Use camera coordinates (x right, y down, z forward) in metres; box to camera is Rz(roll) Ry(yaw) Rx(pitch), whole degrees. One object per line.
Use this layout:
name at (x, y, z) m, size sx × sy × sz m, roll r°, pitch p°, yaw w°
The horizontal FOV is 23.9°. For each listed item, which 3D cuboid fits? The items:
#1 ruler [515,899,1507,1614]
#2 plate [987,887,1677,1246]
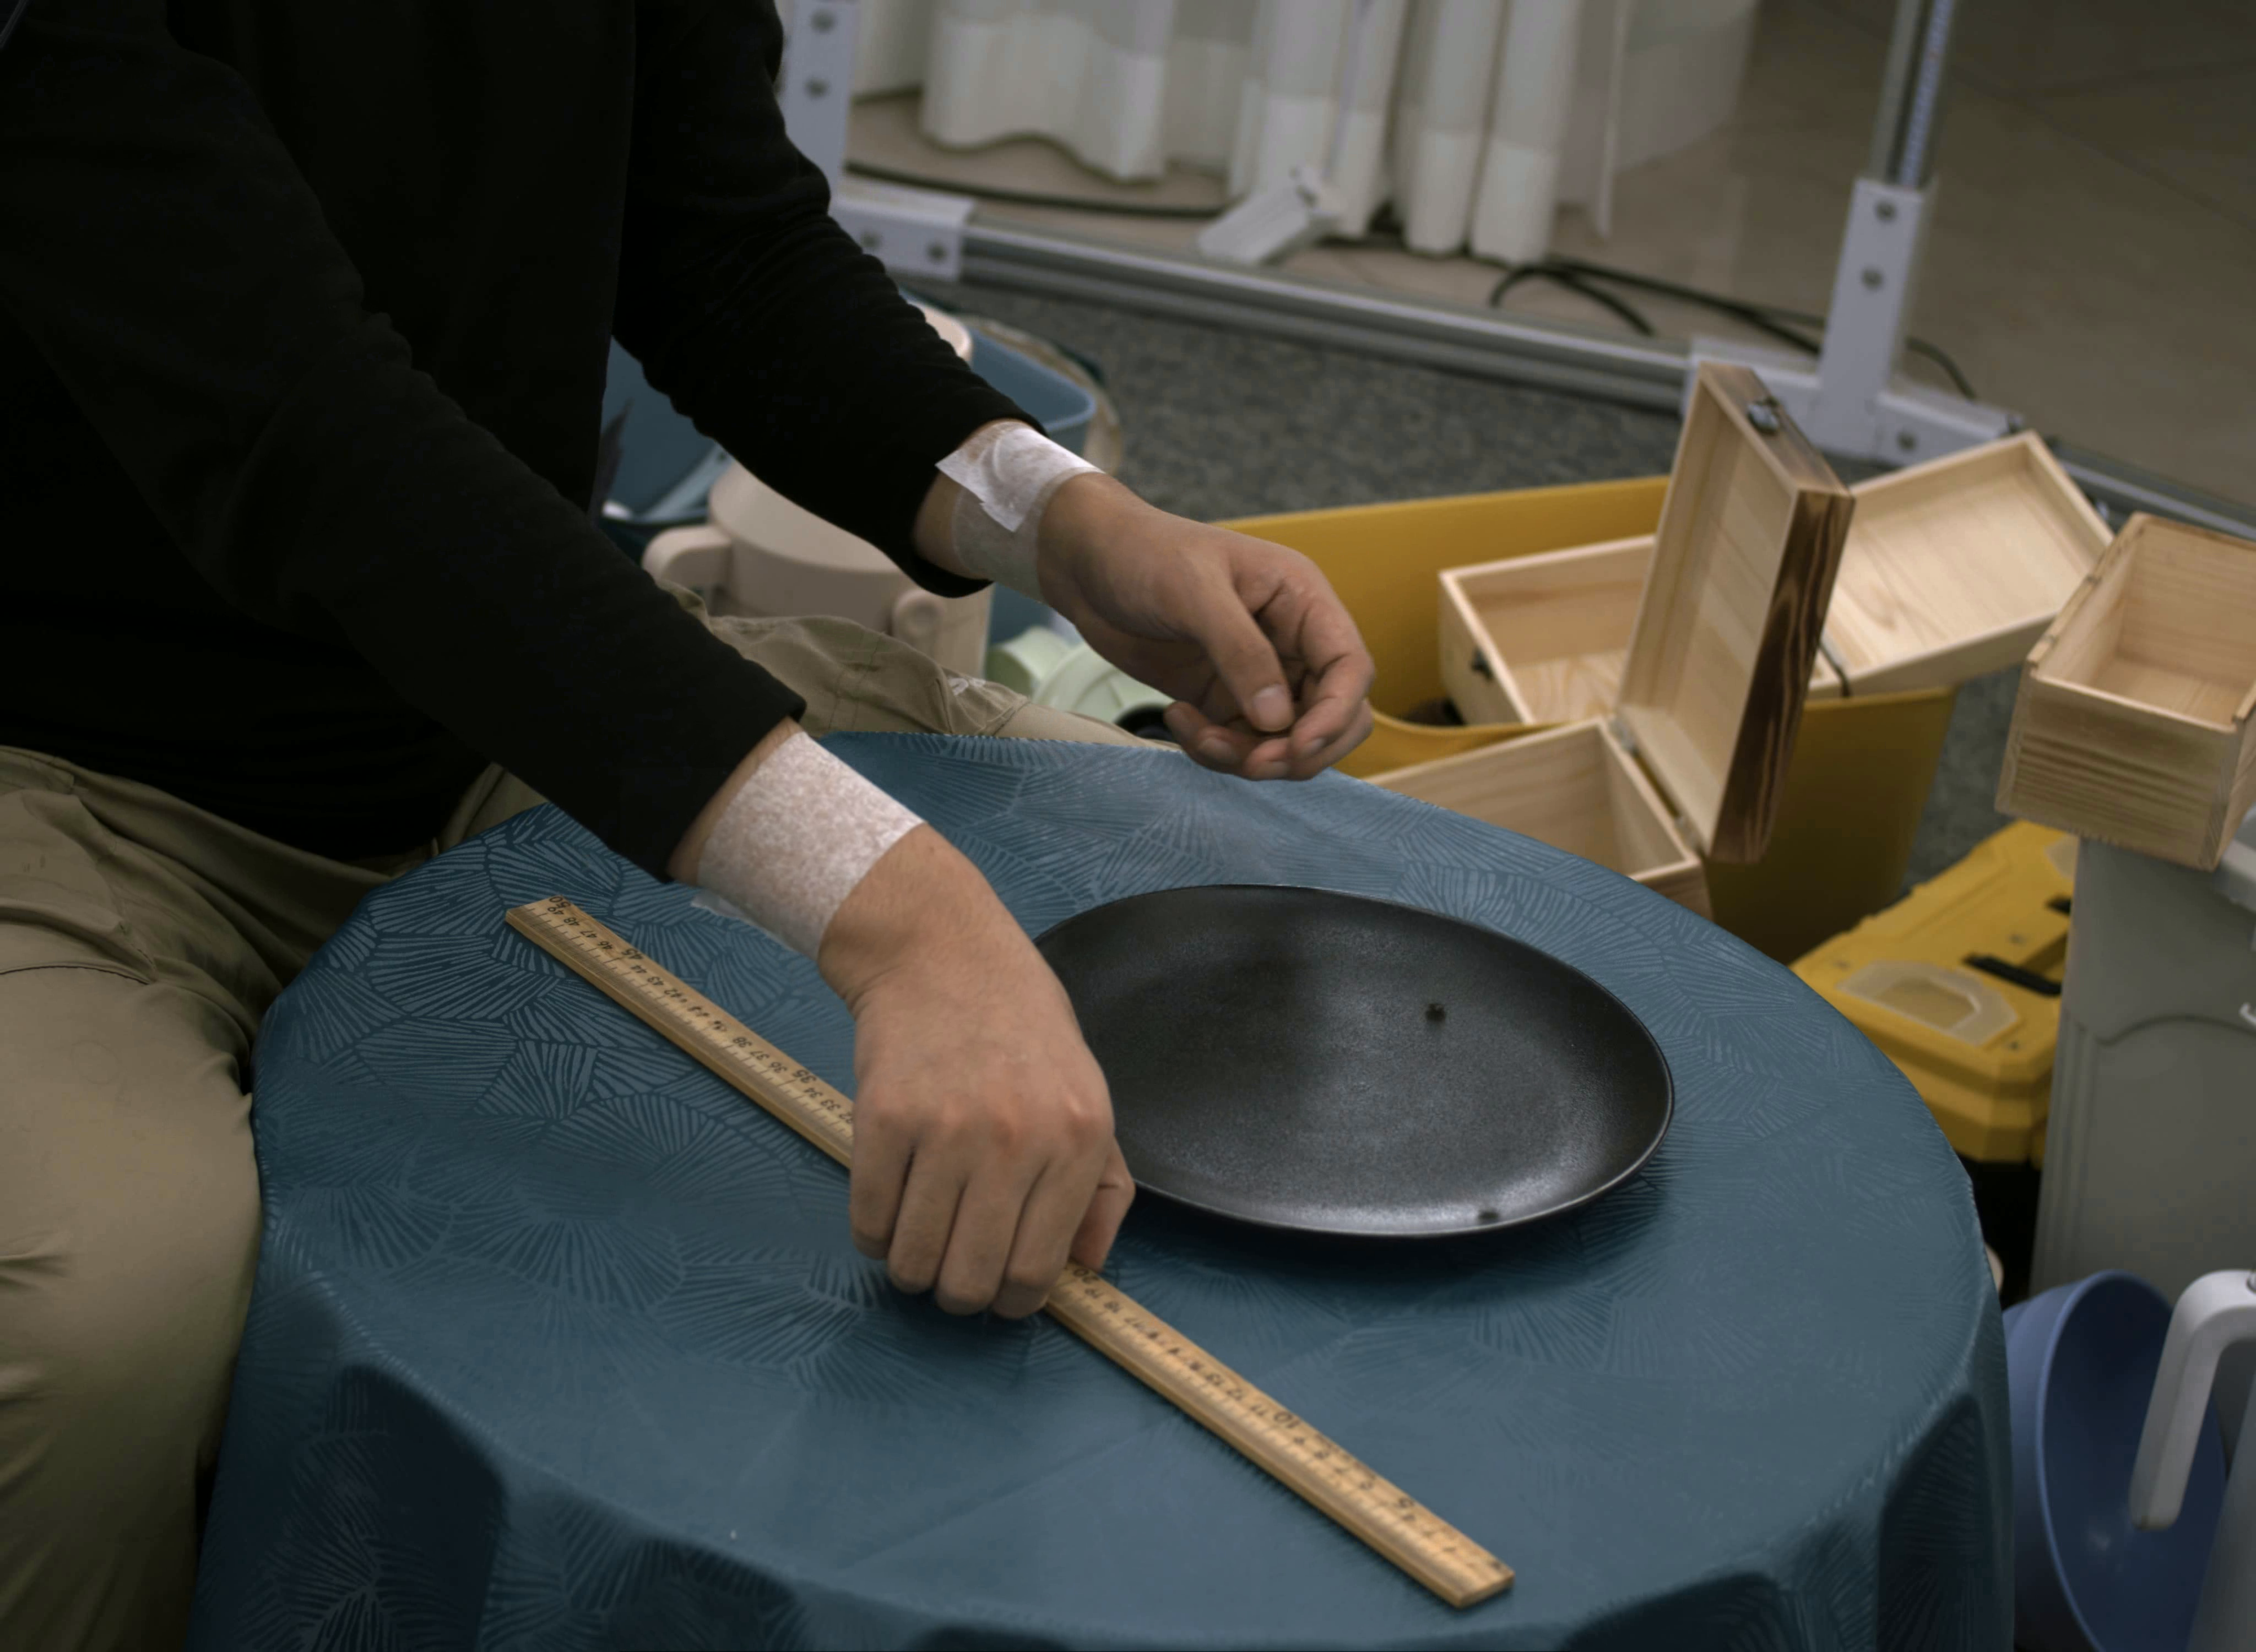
ruler at (-0.053, 0.131, 1.768) m, size 0.026 × 0.006 × 0.504 m, roll -15°, pitch 33°, yaw -38°
plate at (0.070, 0.087, 1.863) m, size 0.243 × 0.023 × 0.246 m, roll 5°, pitch 27°, yaw -3°
